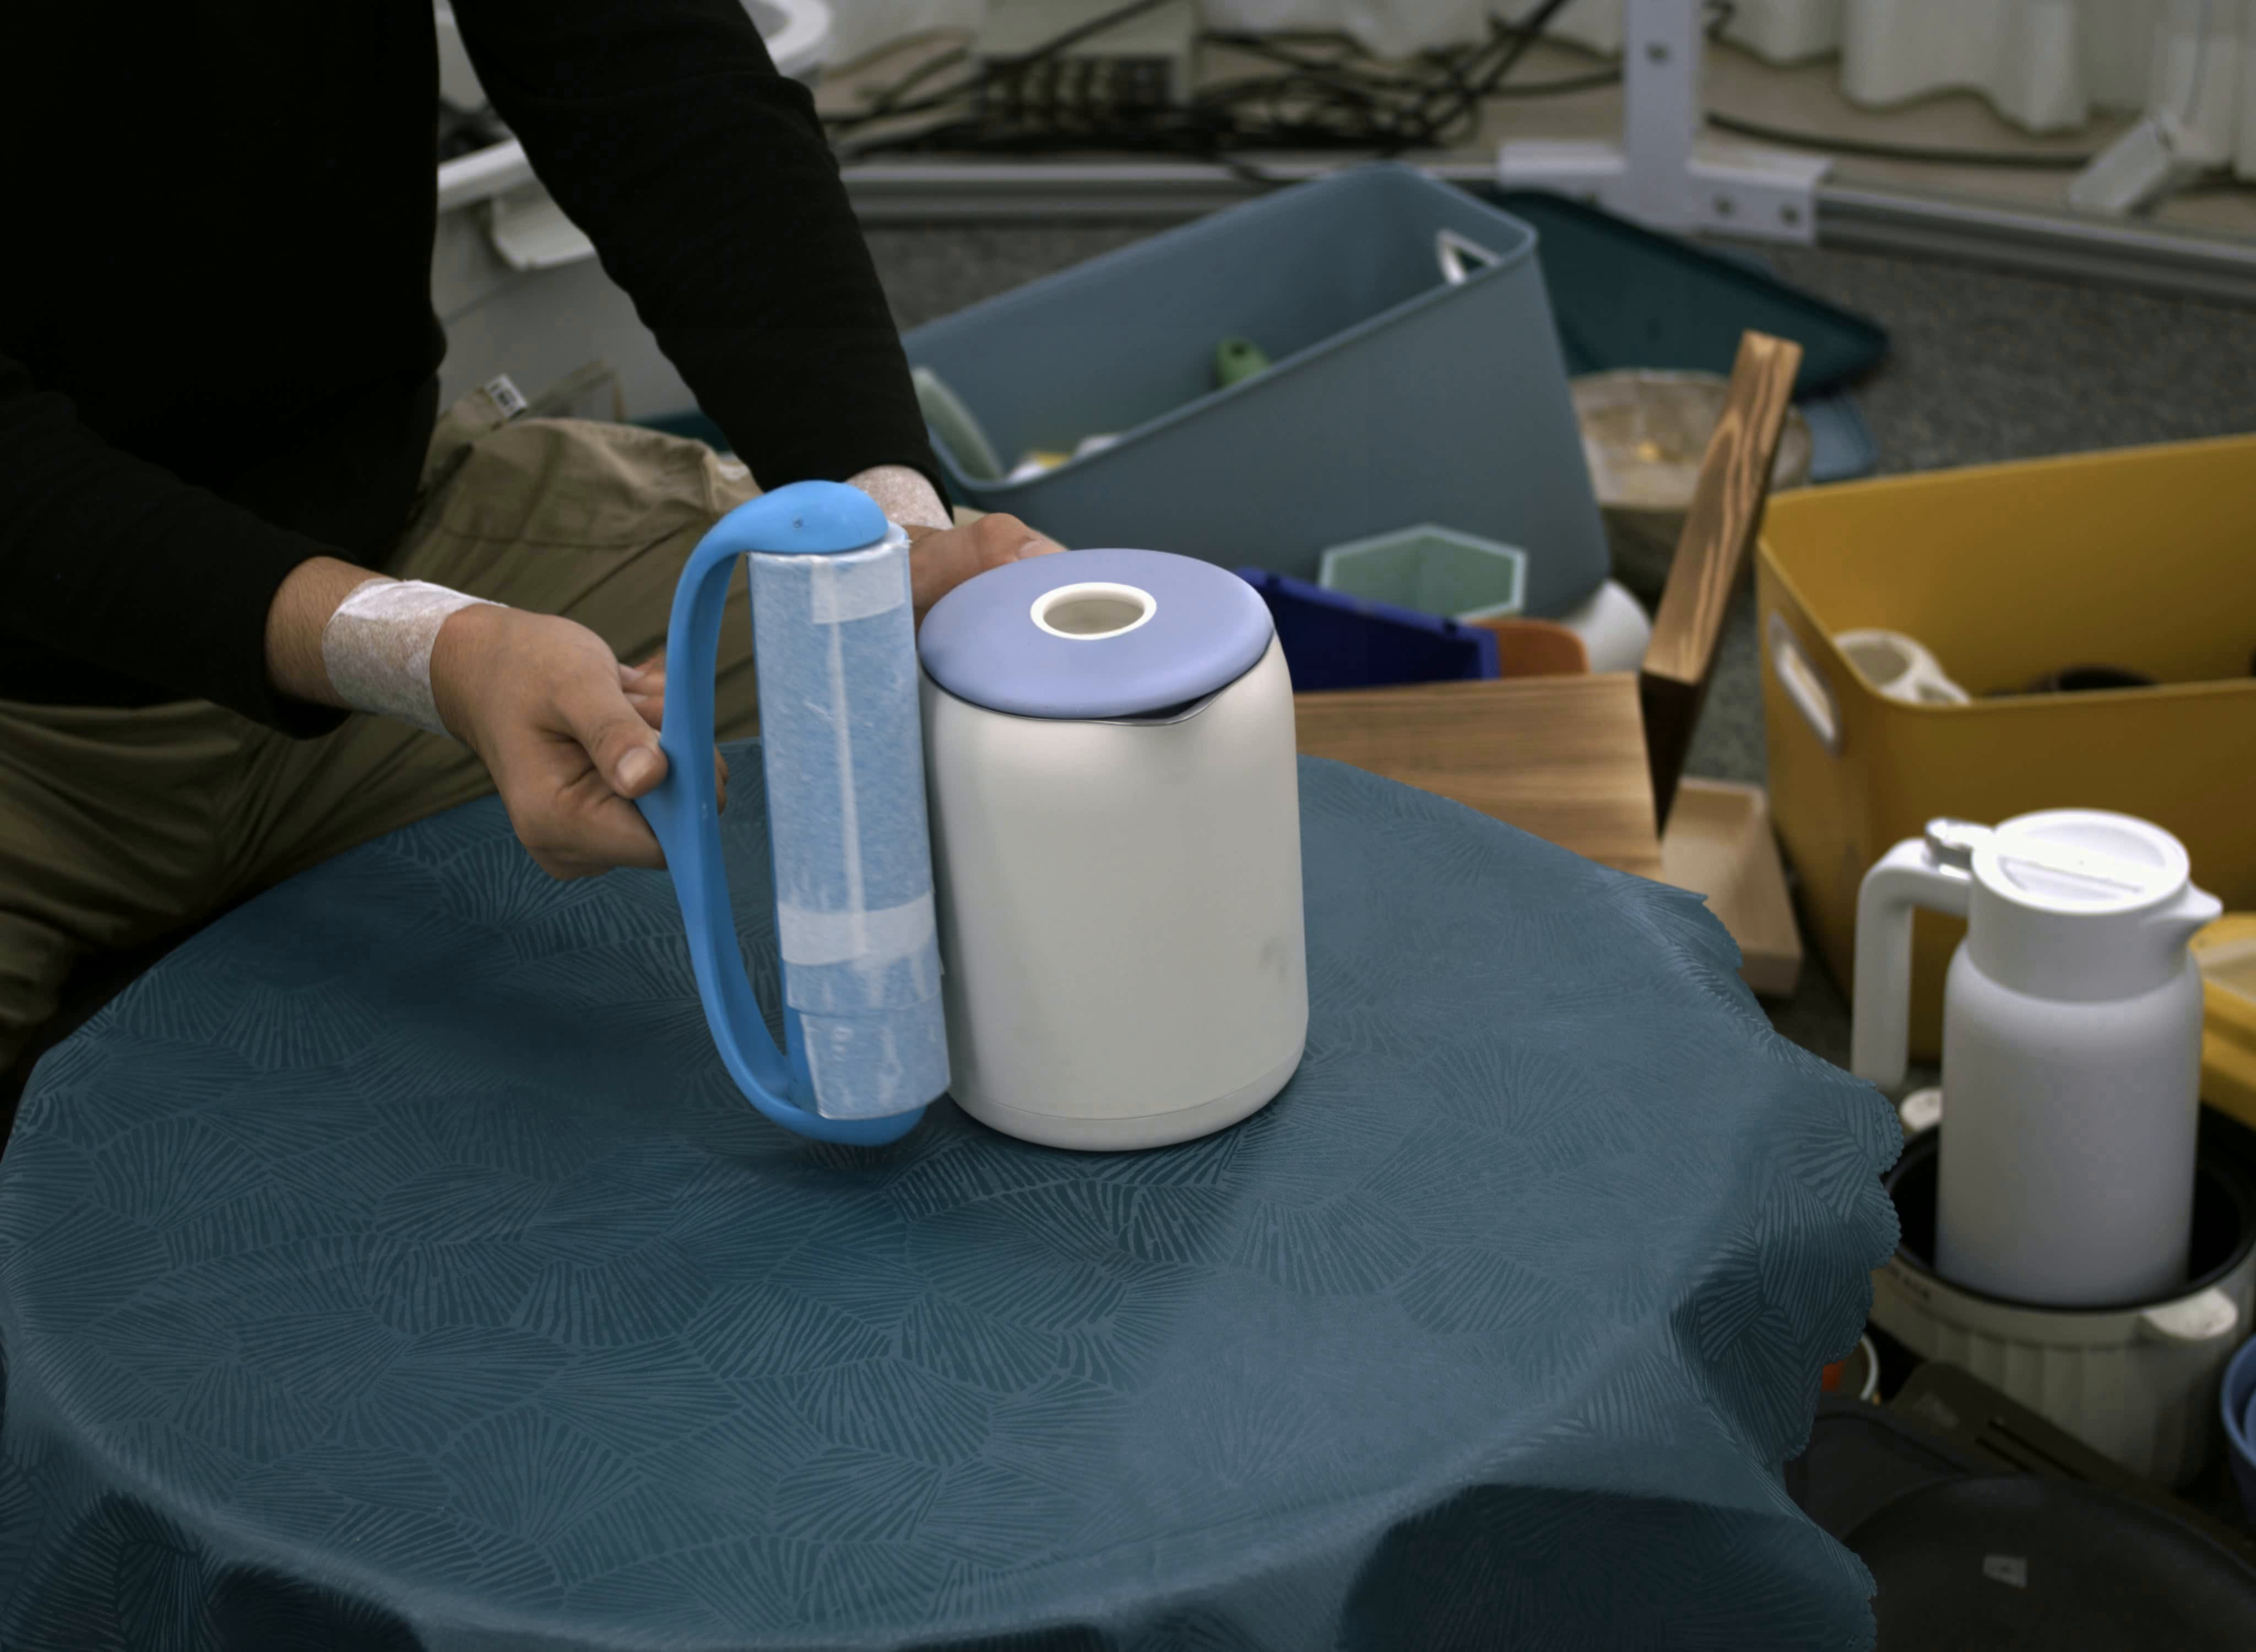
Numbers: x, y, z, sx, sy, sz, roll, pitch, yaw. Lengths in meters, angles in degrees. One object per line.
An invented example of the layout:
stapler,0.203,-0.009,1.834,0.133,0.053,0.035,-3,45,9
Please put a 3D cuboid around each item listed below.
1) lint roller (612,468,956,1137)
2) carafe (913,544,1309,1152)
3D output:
lint roller,-0.132,-0.014,1.894,0.068,0.228,0.179,-20,21,-40
carafe,-0.017,-0.003,1.919,0.133,0.181,0.192,-14,26,-21
